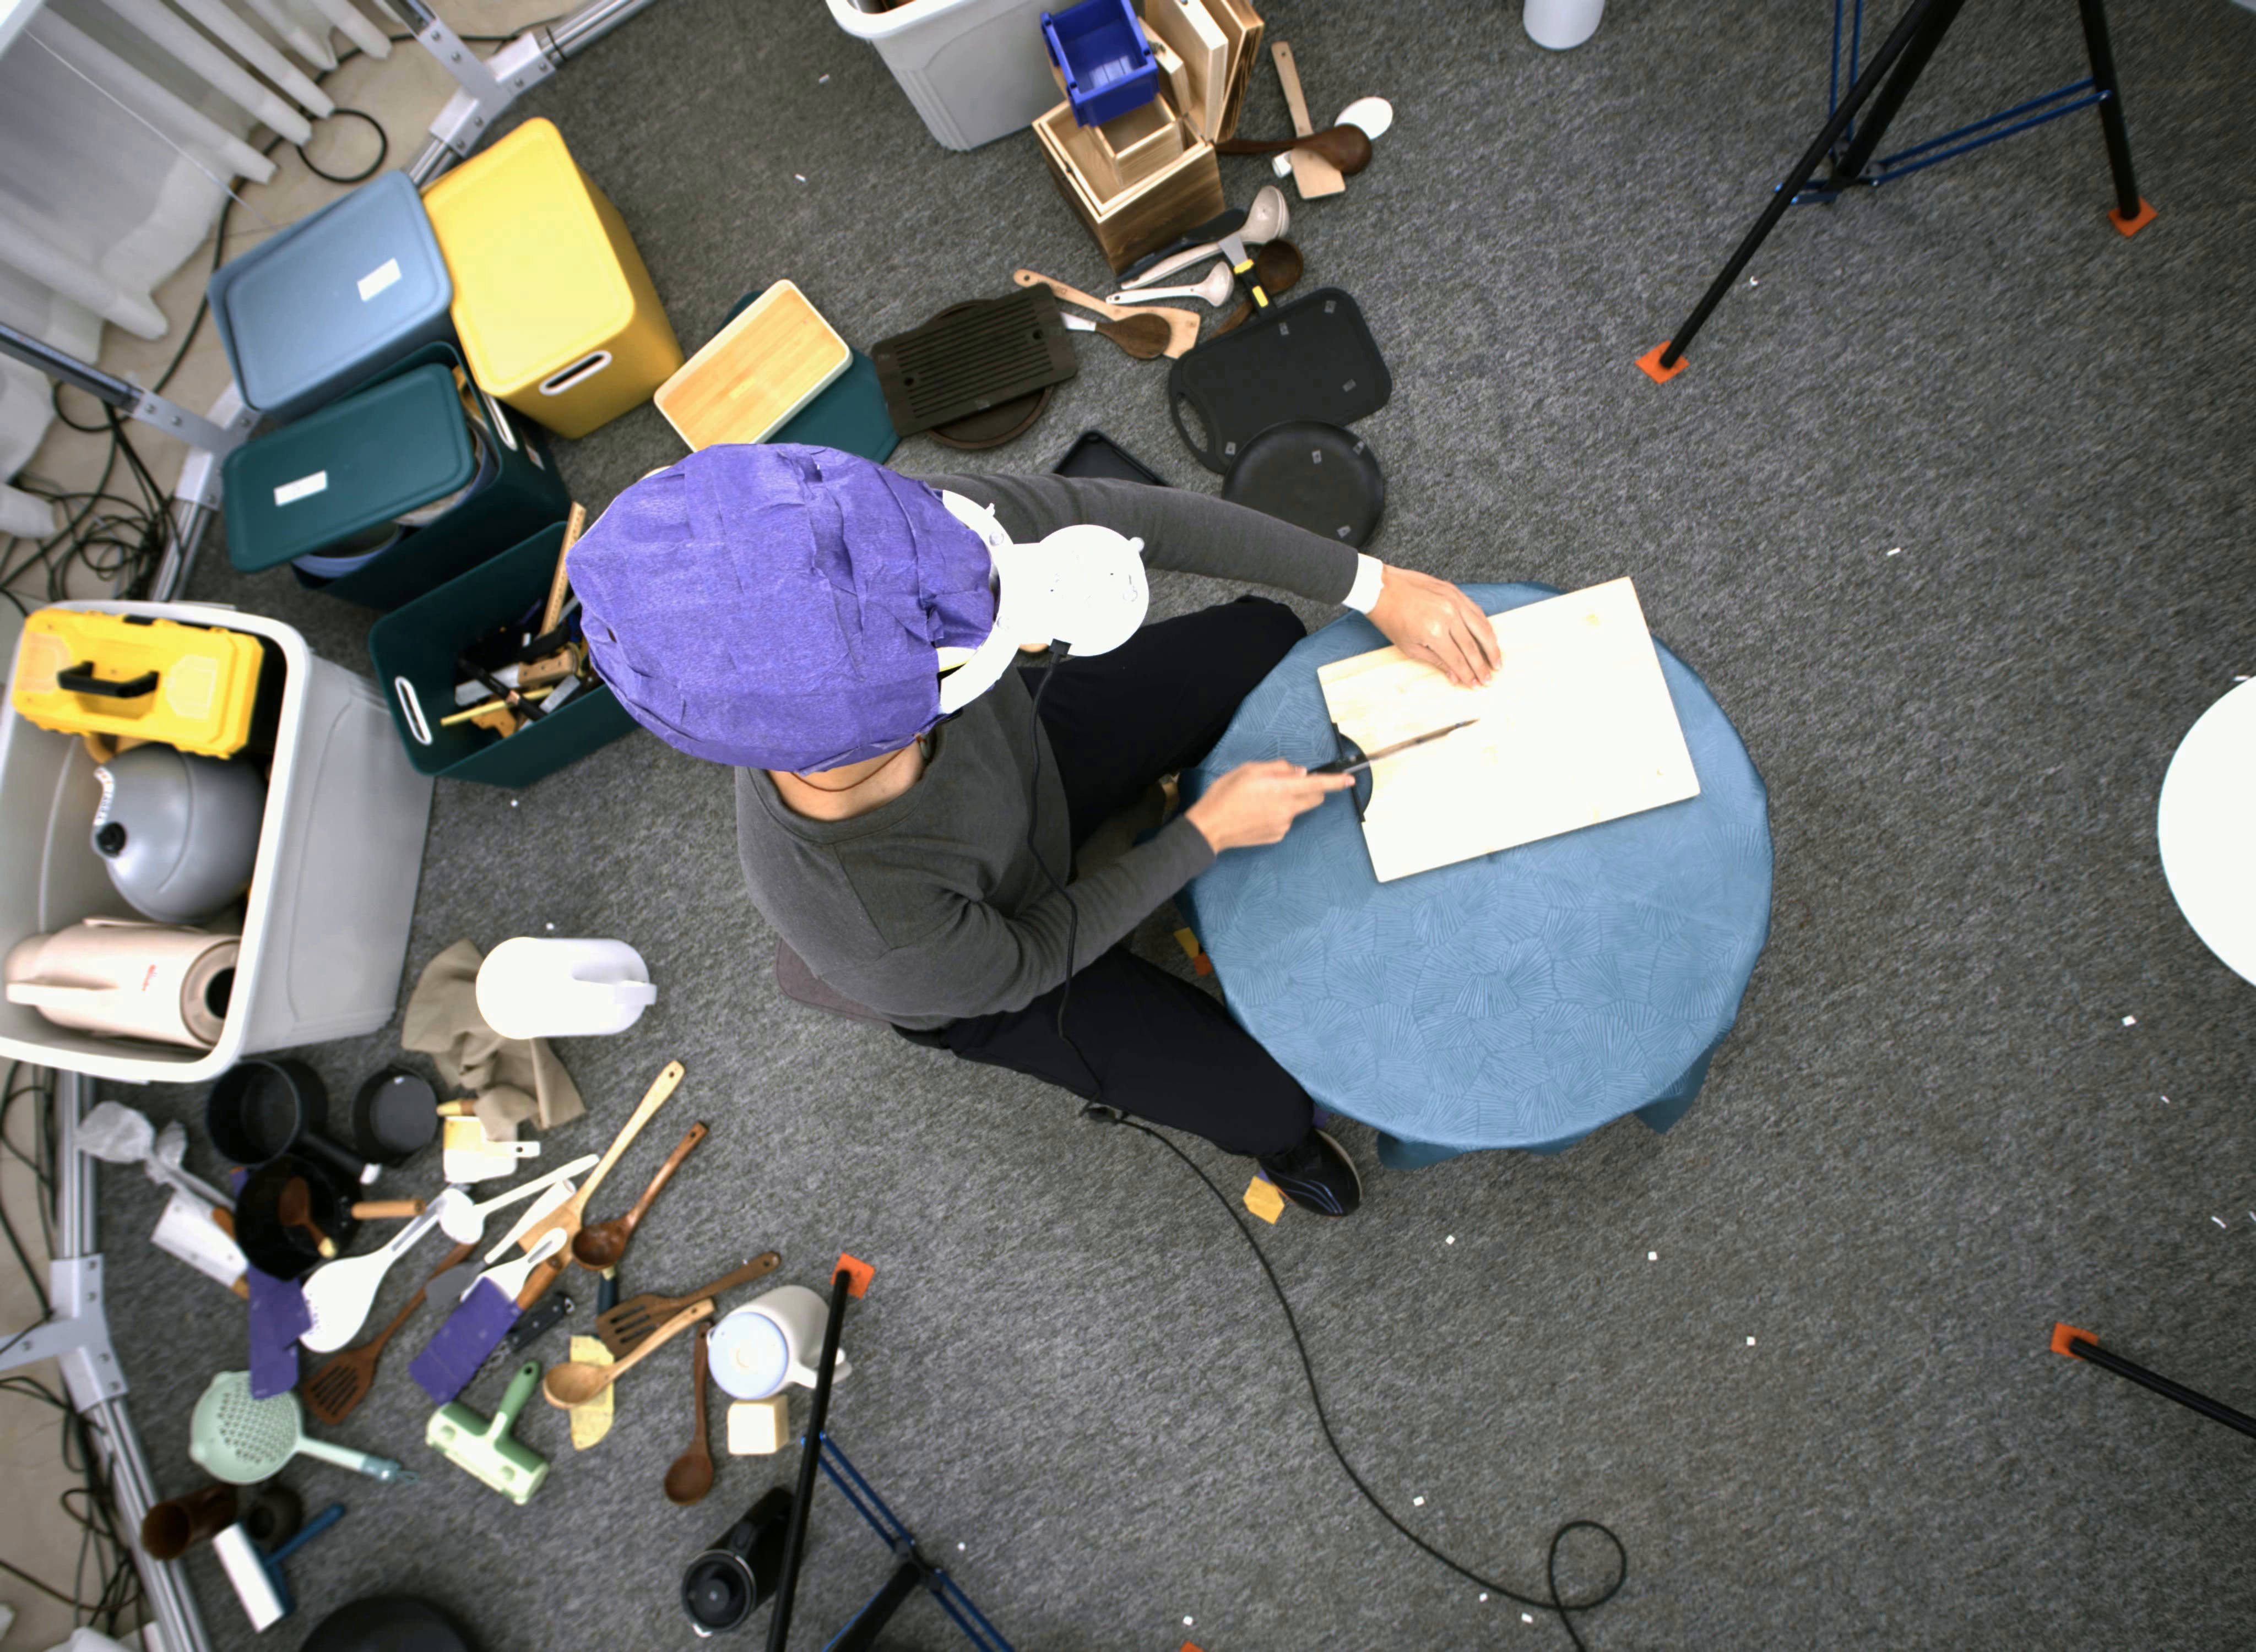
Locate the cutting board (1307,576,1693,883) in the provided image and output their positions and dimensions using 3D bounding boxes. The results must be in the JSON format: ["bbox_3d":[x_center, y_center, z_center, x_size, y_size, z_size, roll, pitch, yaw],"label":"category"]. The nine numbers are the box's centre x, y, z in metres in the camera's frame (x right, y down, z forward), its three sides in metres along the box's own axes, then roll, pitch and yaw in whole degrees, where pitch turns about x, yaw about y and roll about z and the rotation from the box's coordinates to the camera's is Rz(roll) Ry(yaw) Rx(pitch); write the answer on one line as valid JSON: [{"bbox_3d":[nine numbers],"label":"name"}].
[{"bbox_3d":[0.389,-0.102,1.440,0.350,0.023,0.249,-17,83,9],"label":"cutting board"}]

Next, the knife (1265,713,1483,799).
[{"bbox_3d":[0.254,-0.075,1.419,0.239,0.024,0.016,-20,115,6],"label":"knife"}]
